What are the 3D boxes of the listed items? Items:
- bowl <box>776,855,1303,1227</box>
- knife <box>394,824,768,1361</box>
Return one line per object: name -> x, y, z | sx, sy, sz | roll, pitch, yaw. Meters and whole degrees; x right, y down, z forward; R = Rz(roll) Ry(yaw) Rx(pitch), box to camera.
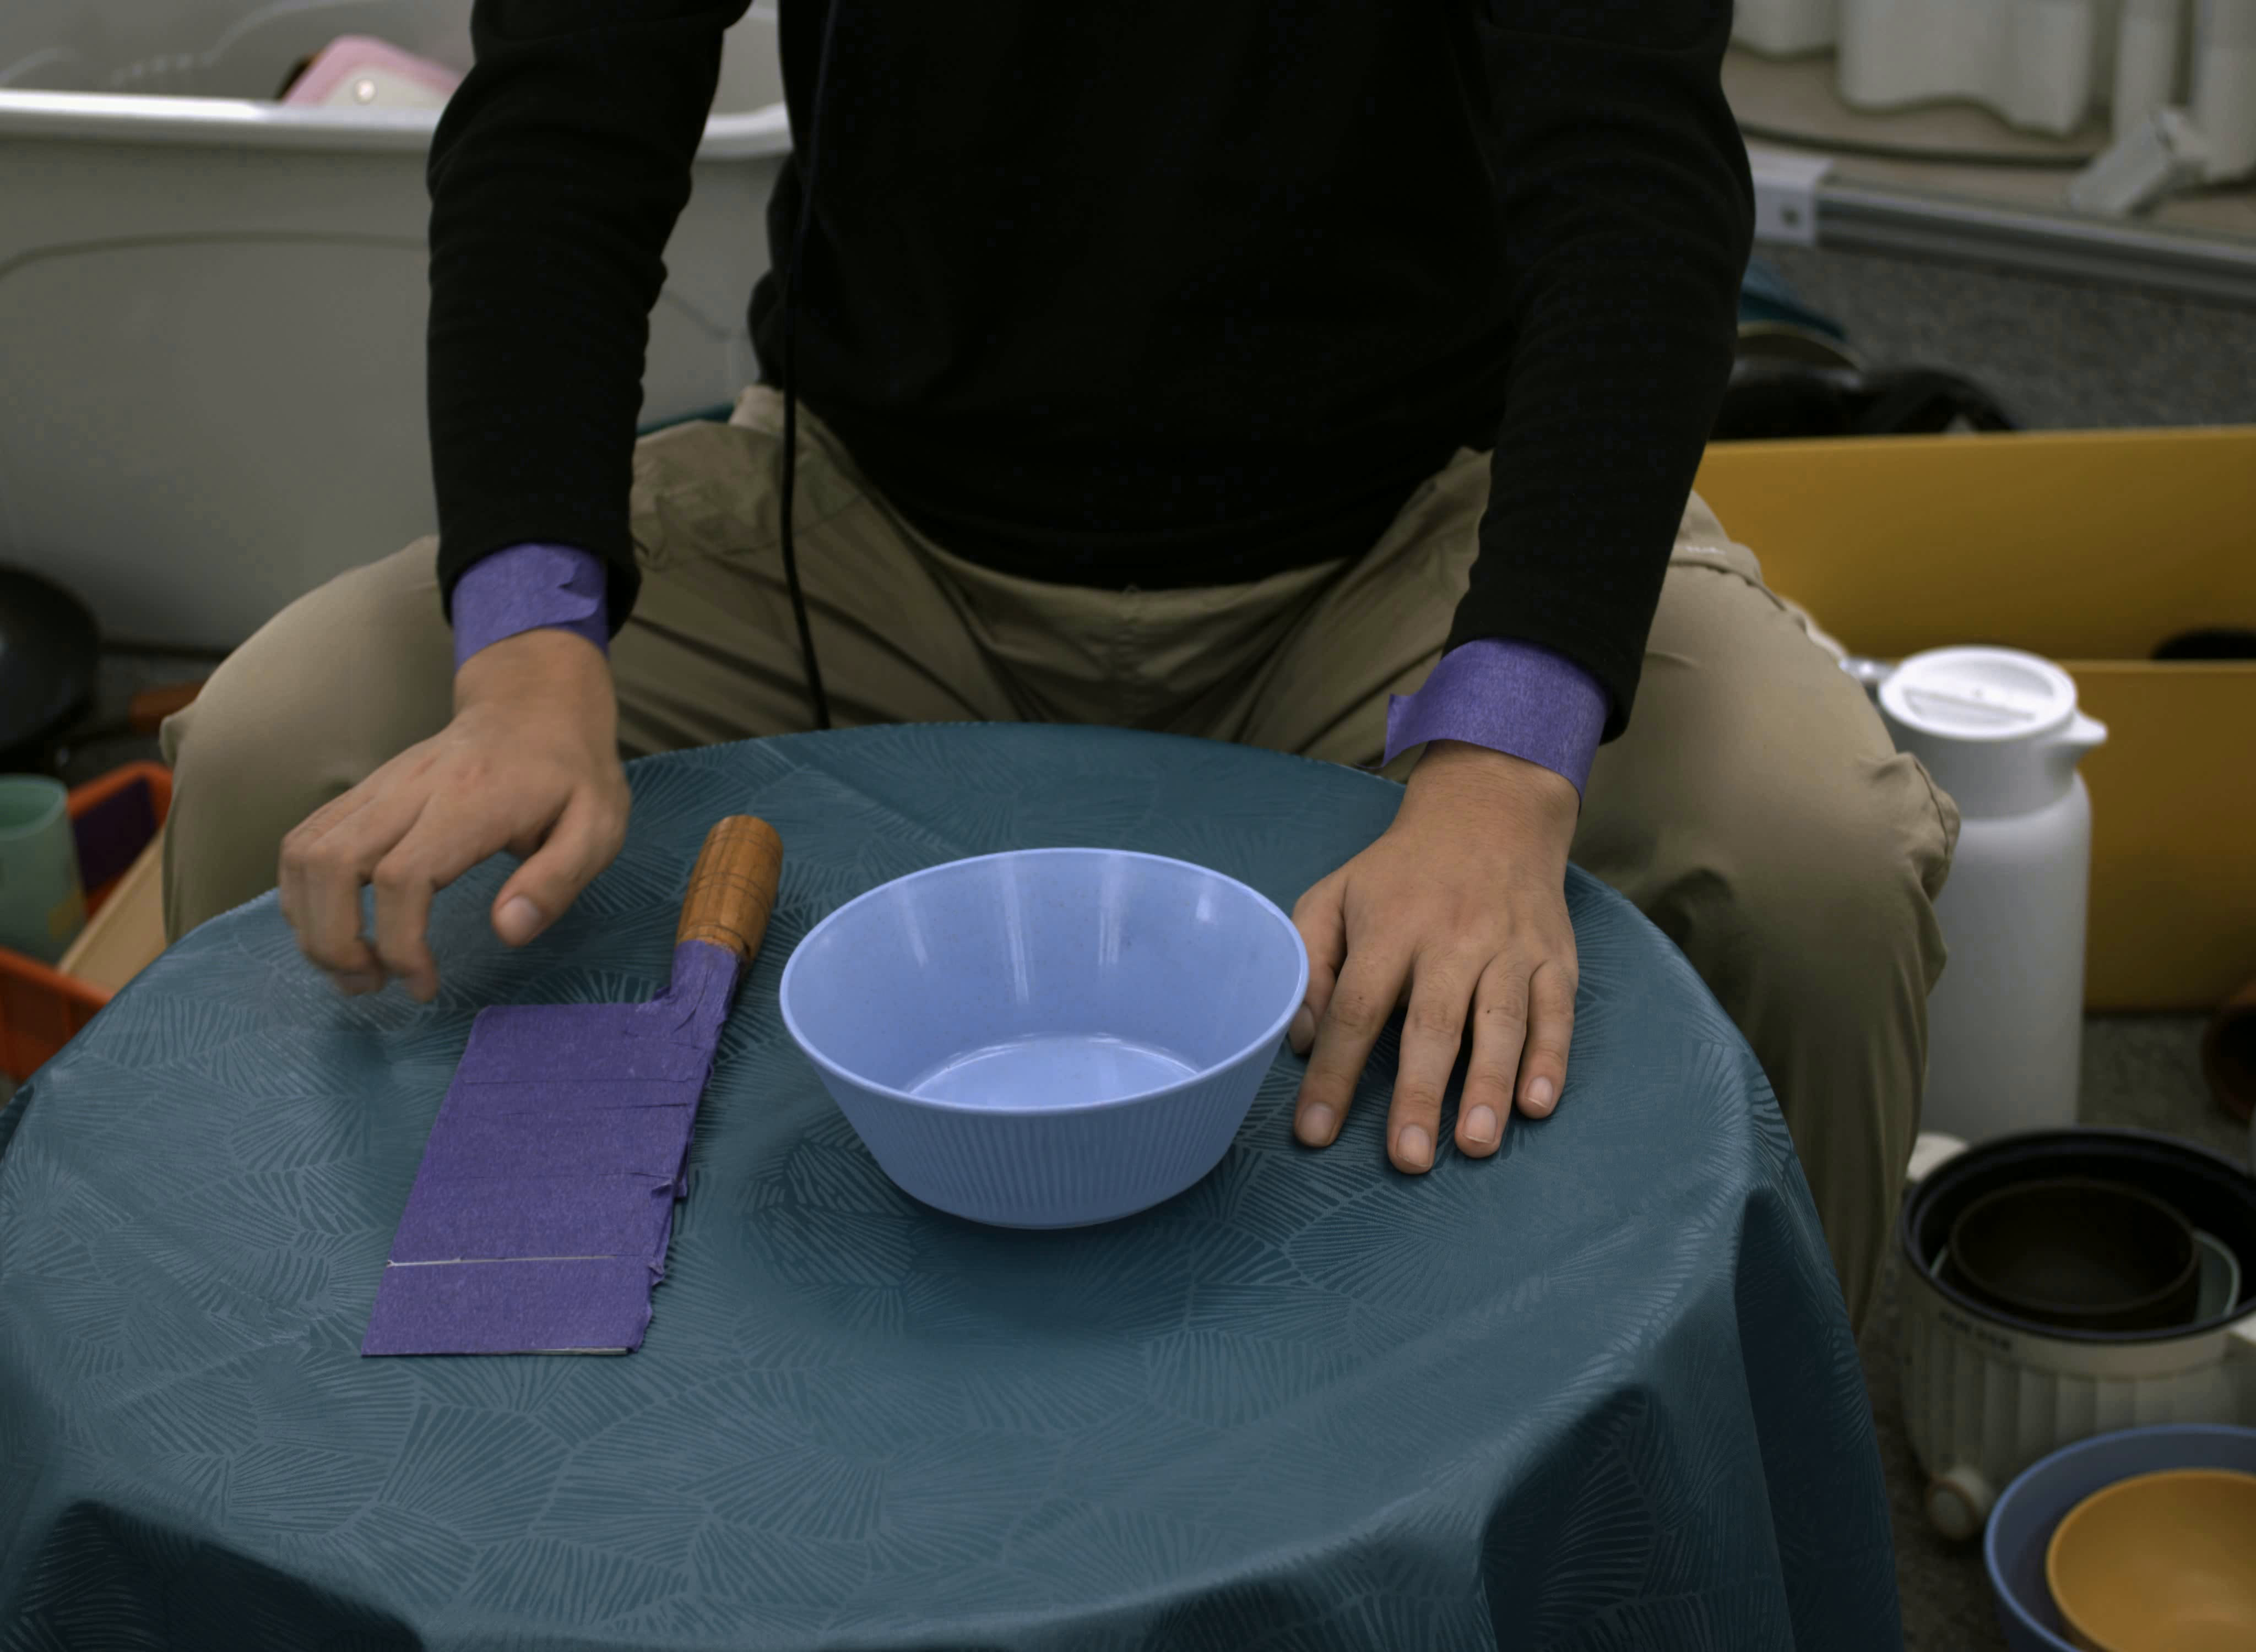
bowl -> -0.028, 0.077, 1.871 | 0.175, 0.069, 0.178 | -2, 26, 1
knife -> -0.186, 0.087, 1.916 | 0.103, 0.032, 0.320 | 0, 28, 5
